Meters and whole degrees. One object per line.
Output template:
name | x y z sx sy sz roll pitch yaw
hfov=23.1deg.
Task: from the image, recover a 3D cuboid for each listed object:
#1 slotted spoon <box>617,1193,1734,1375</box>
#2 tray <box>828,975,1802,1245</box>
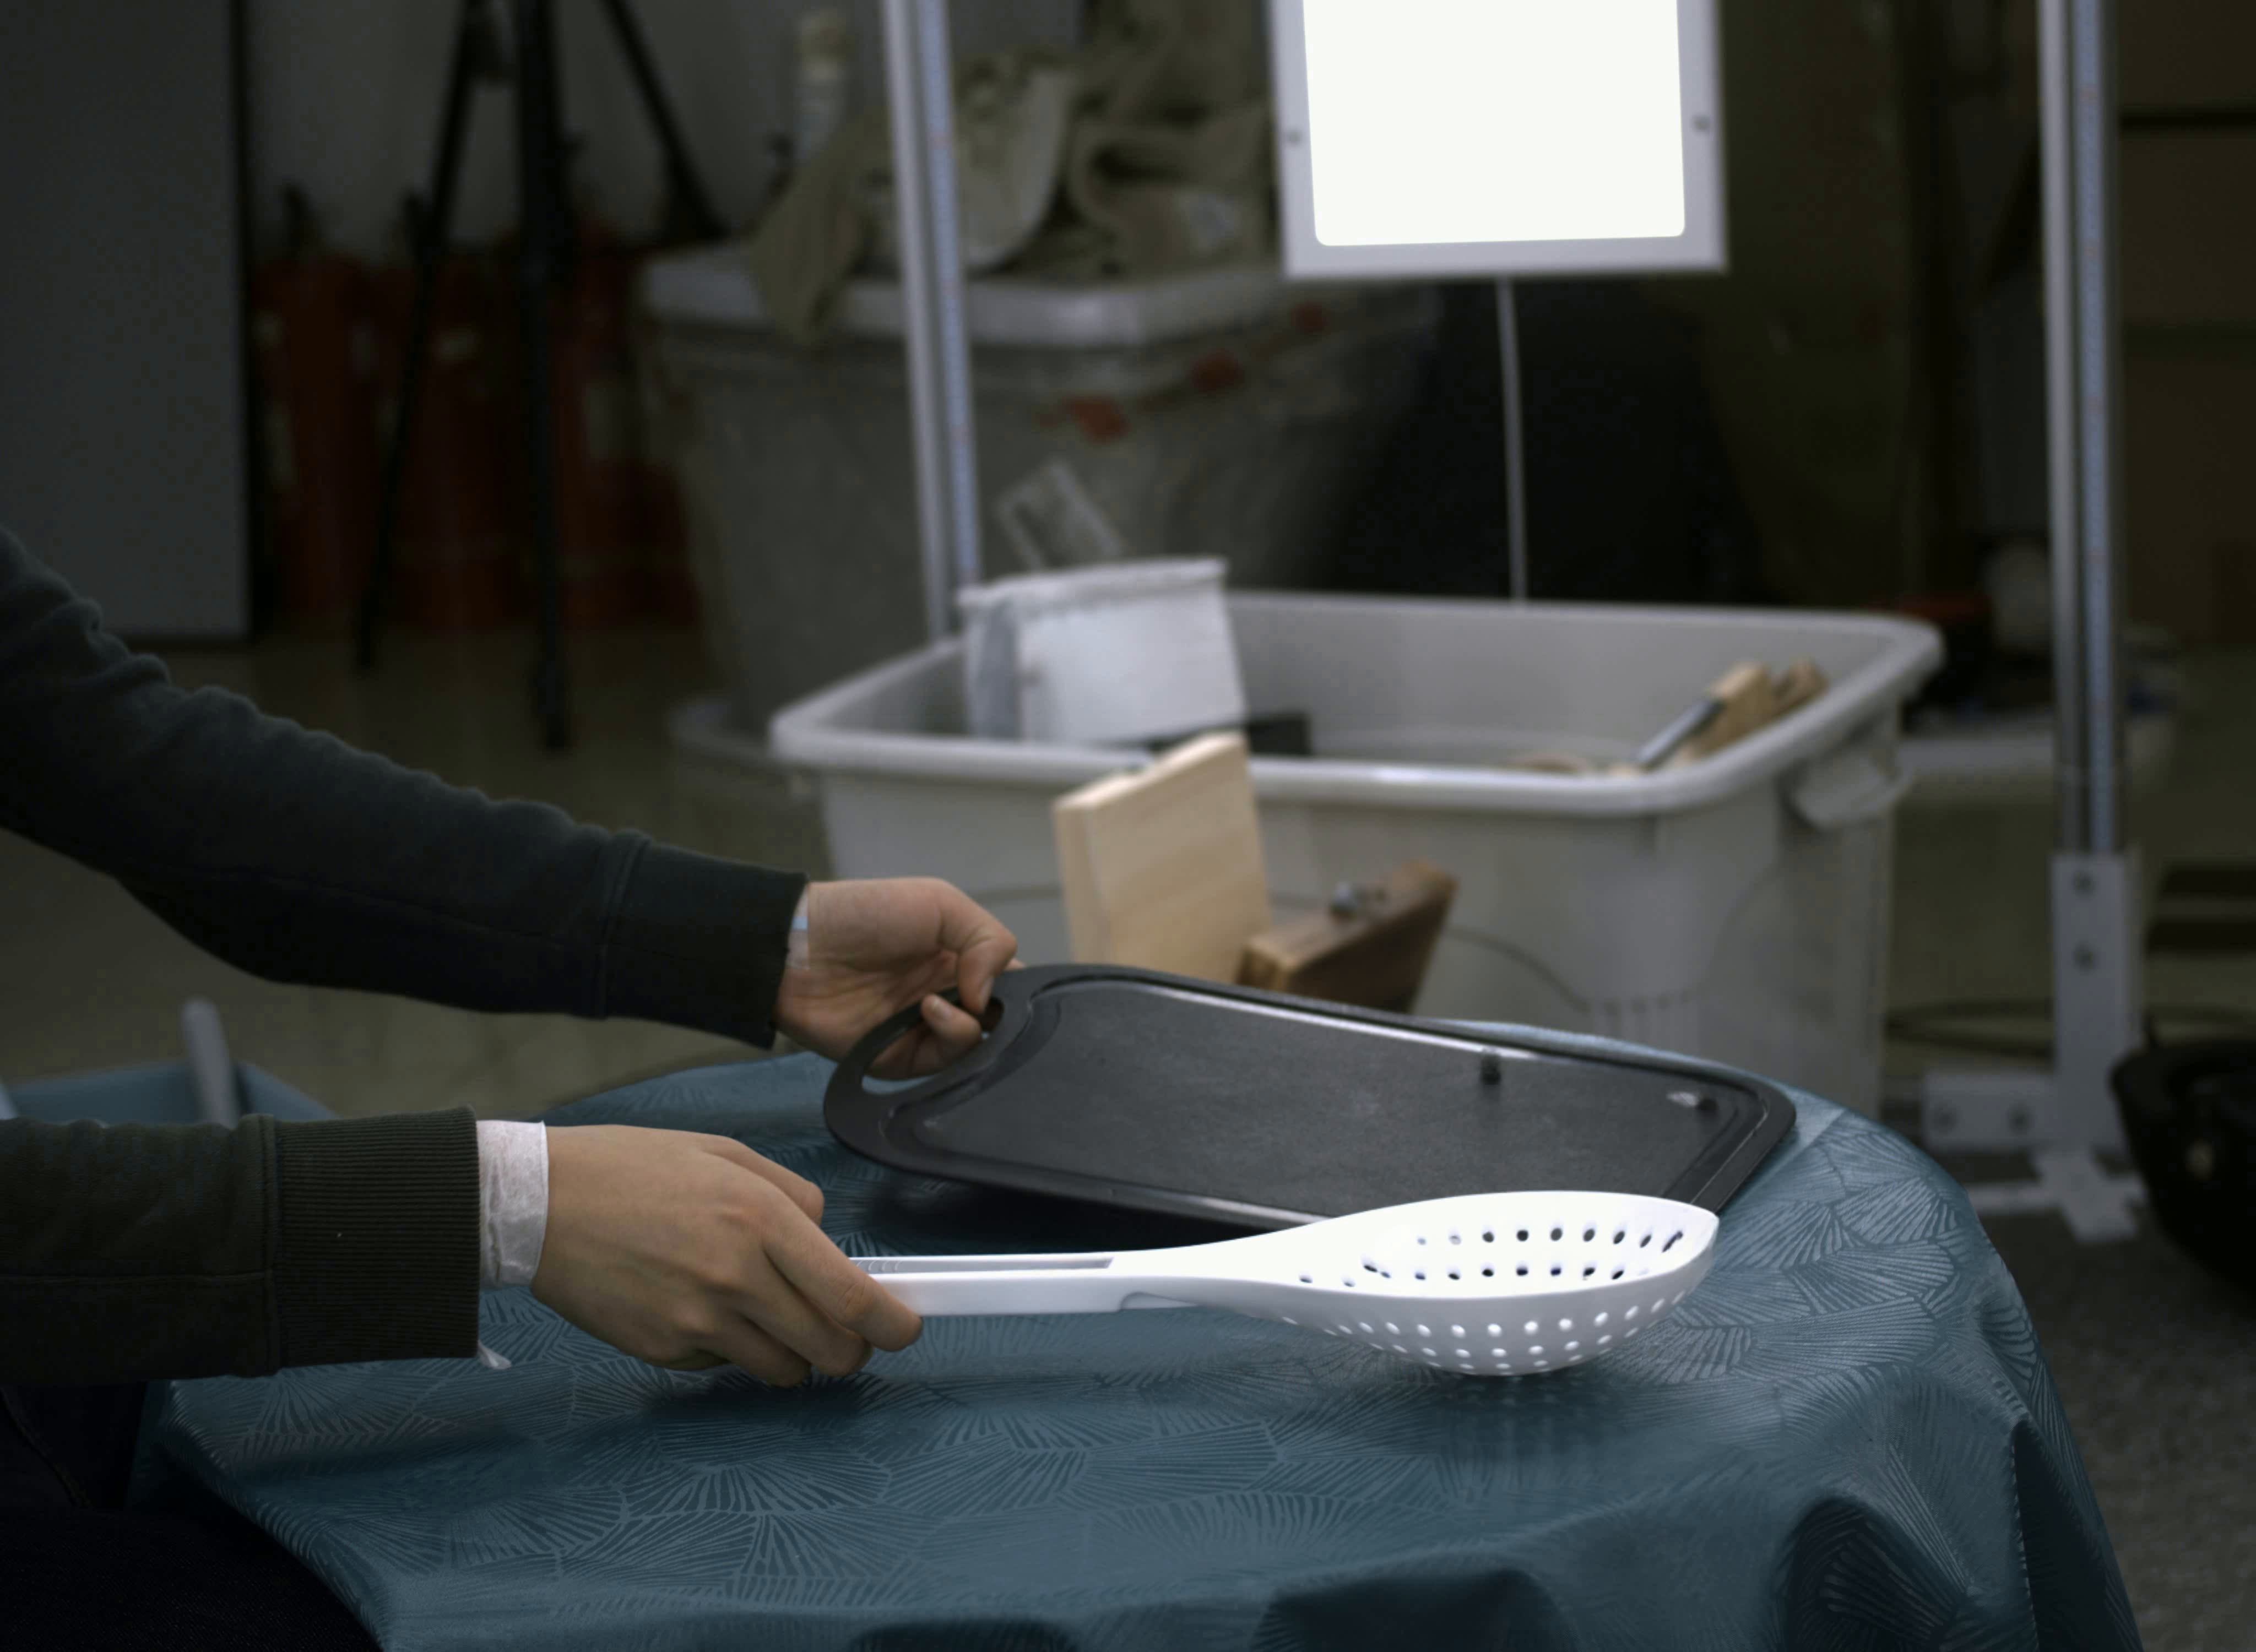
slotted spoon | 0.012 0.139 1.706 0.352 0.046 0.134 2 9 11
tray | 0.059 0.098 1.902 0.330 0.010 0.207 8 20 23
